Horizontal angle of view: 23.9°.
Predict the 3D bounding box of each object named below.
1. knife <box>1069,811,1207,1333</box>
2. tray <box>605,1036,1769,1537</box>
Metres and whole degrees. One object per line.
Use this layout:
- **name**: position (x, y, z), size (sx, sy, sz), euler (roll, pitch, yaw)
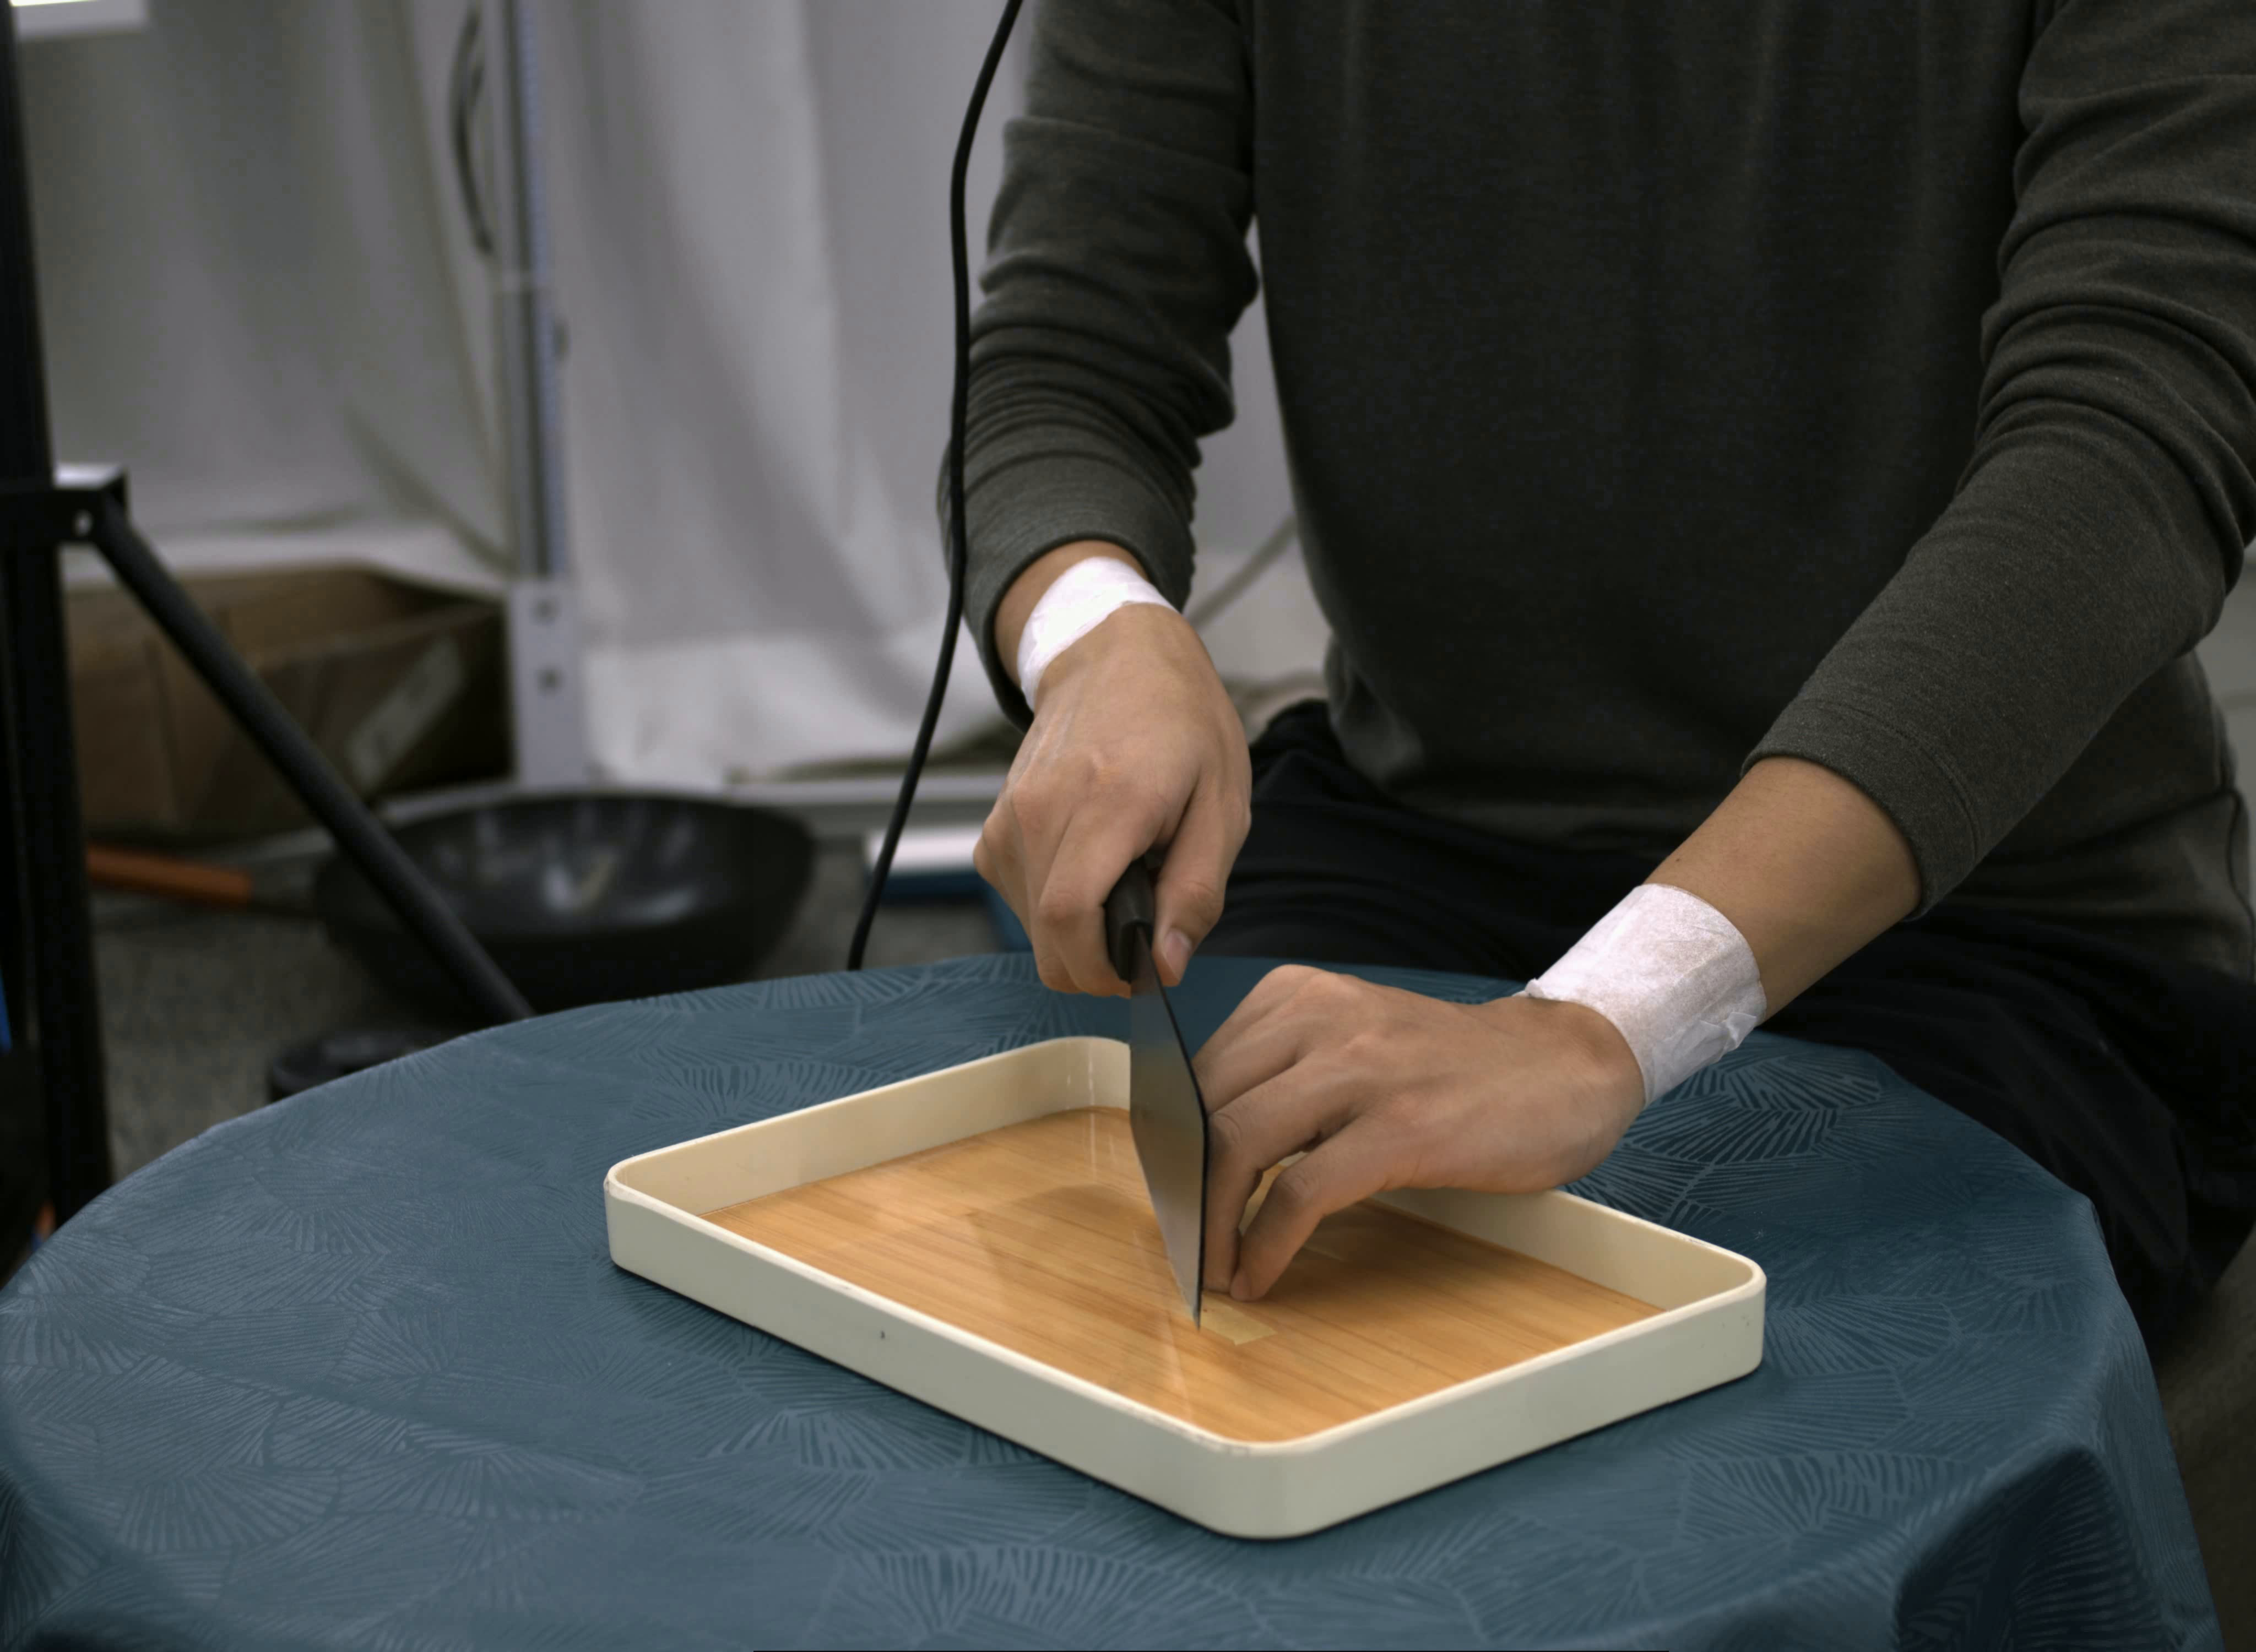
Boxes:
- **knife**: position (0.005, 0.061, 1.519), size (0.020, 0.081, 0.305), euler (1, 20, -6)
- **tray**: position (0.011, 0.121, 1.465), size (0.187, 0.027, 0.307), euler (-14, 19, -36)
